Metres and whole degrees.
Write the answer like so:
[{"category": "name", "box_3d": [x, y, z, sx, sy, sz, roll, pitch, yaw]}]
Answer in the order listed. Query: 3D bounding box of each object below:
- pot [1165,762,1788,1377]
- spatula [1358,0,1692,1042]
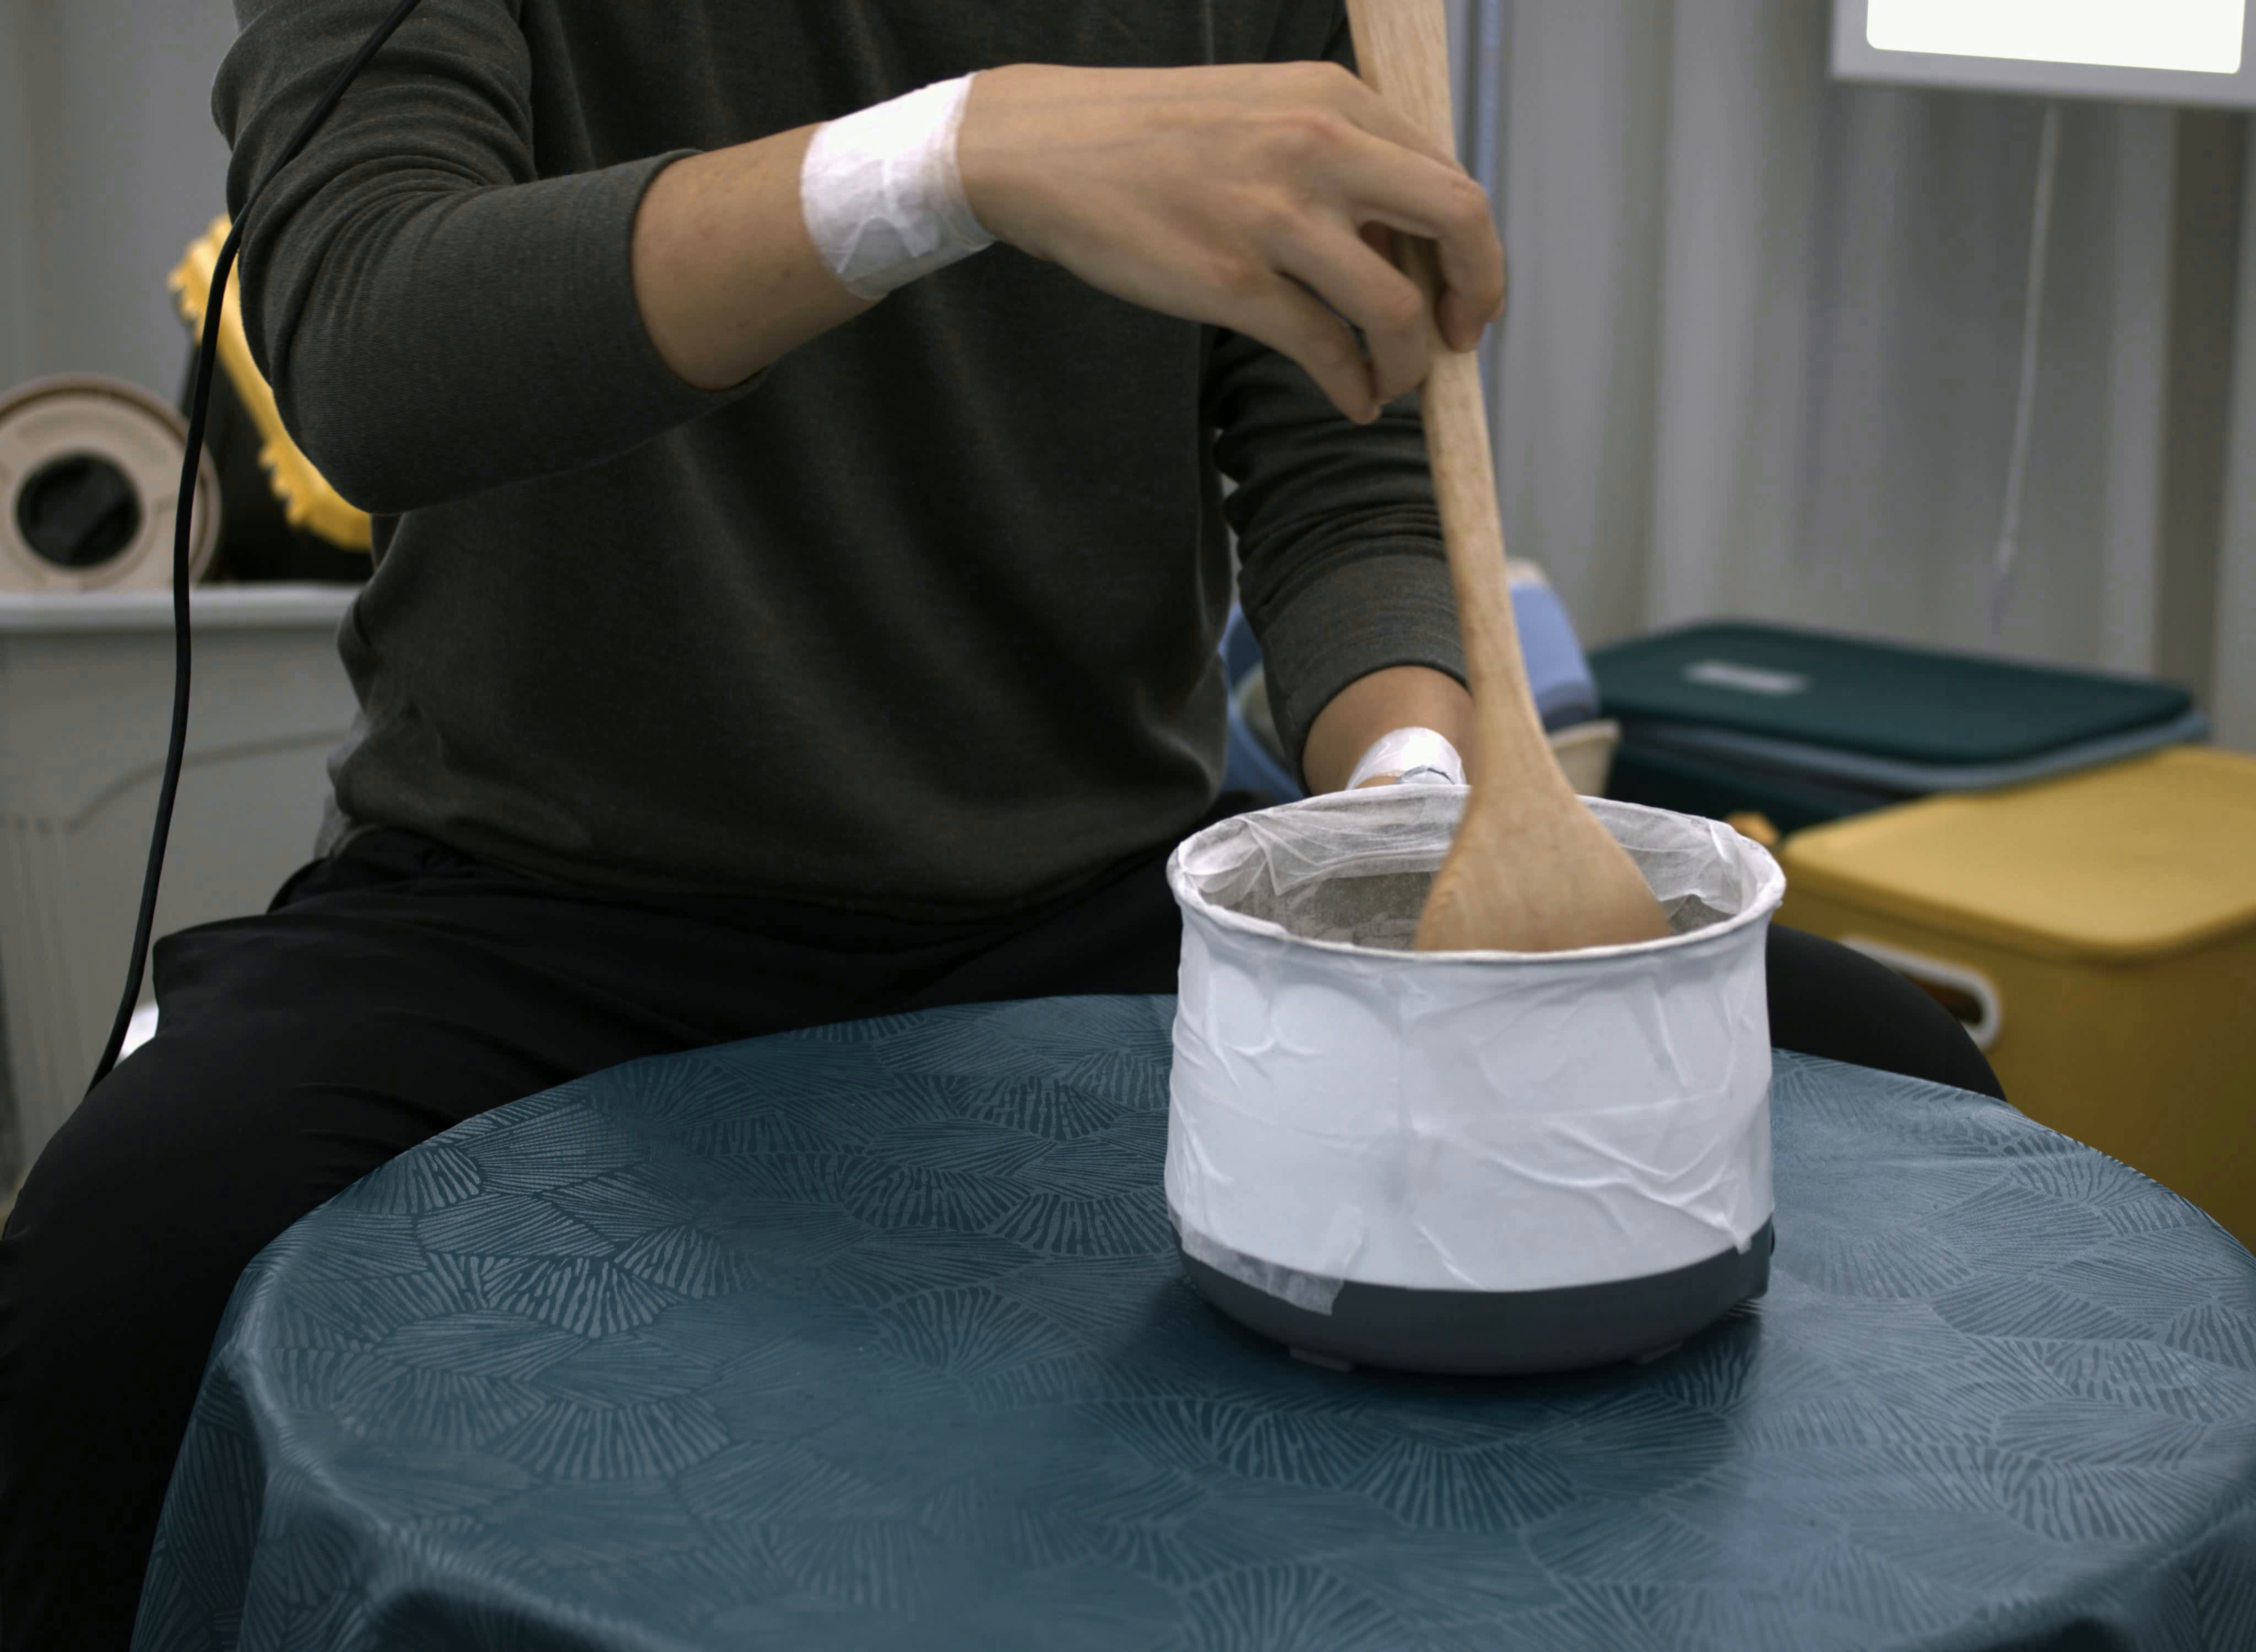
[{"category": "pot", "box_3d": [0.096, 0.066, 1.541, 0.178, 0.138, 0.232, -1, 16, -6]}, {"category": "spatula", "box_3d": [0.103, -0.100, 1.497, 0.096, 0.392, 0.018, -11, 4, -31]}]
